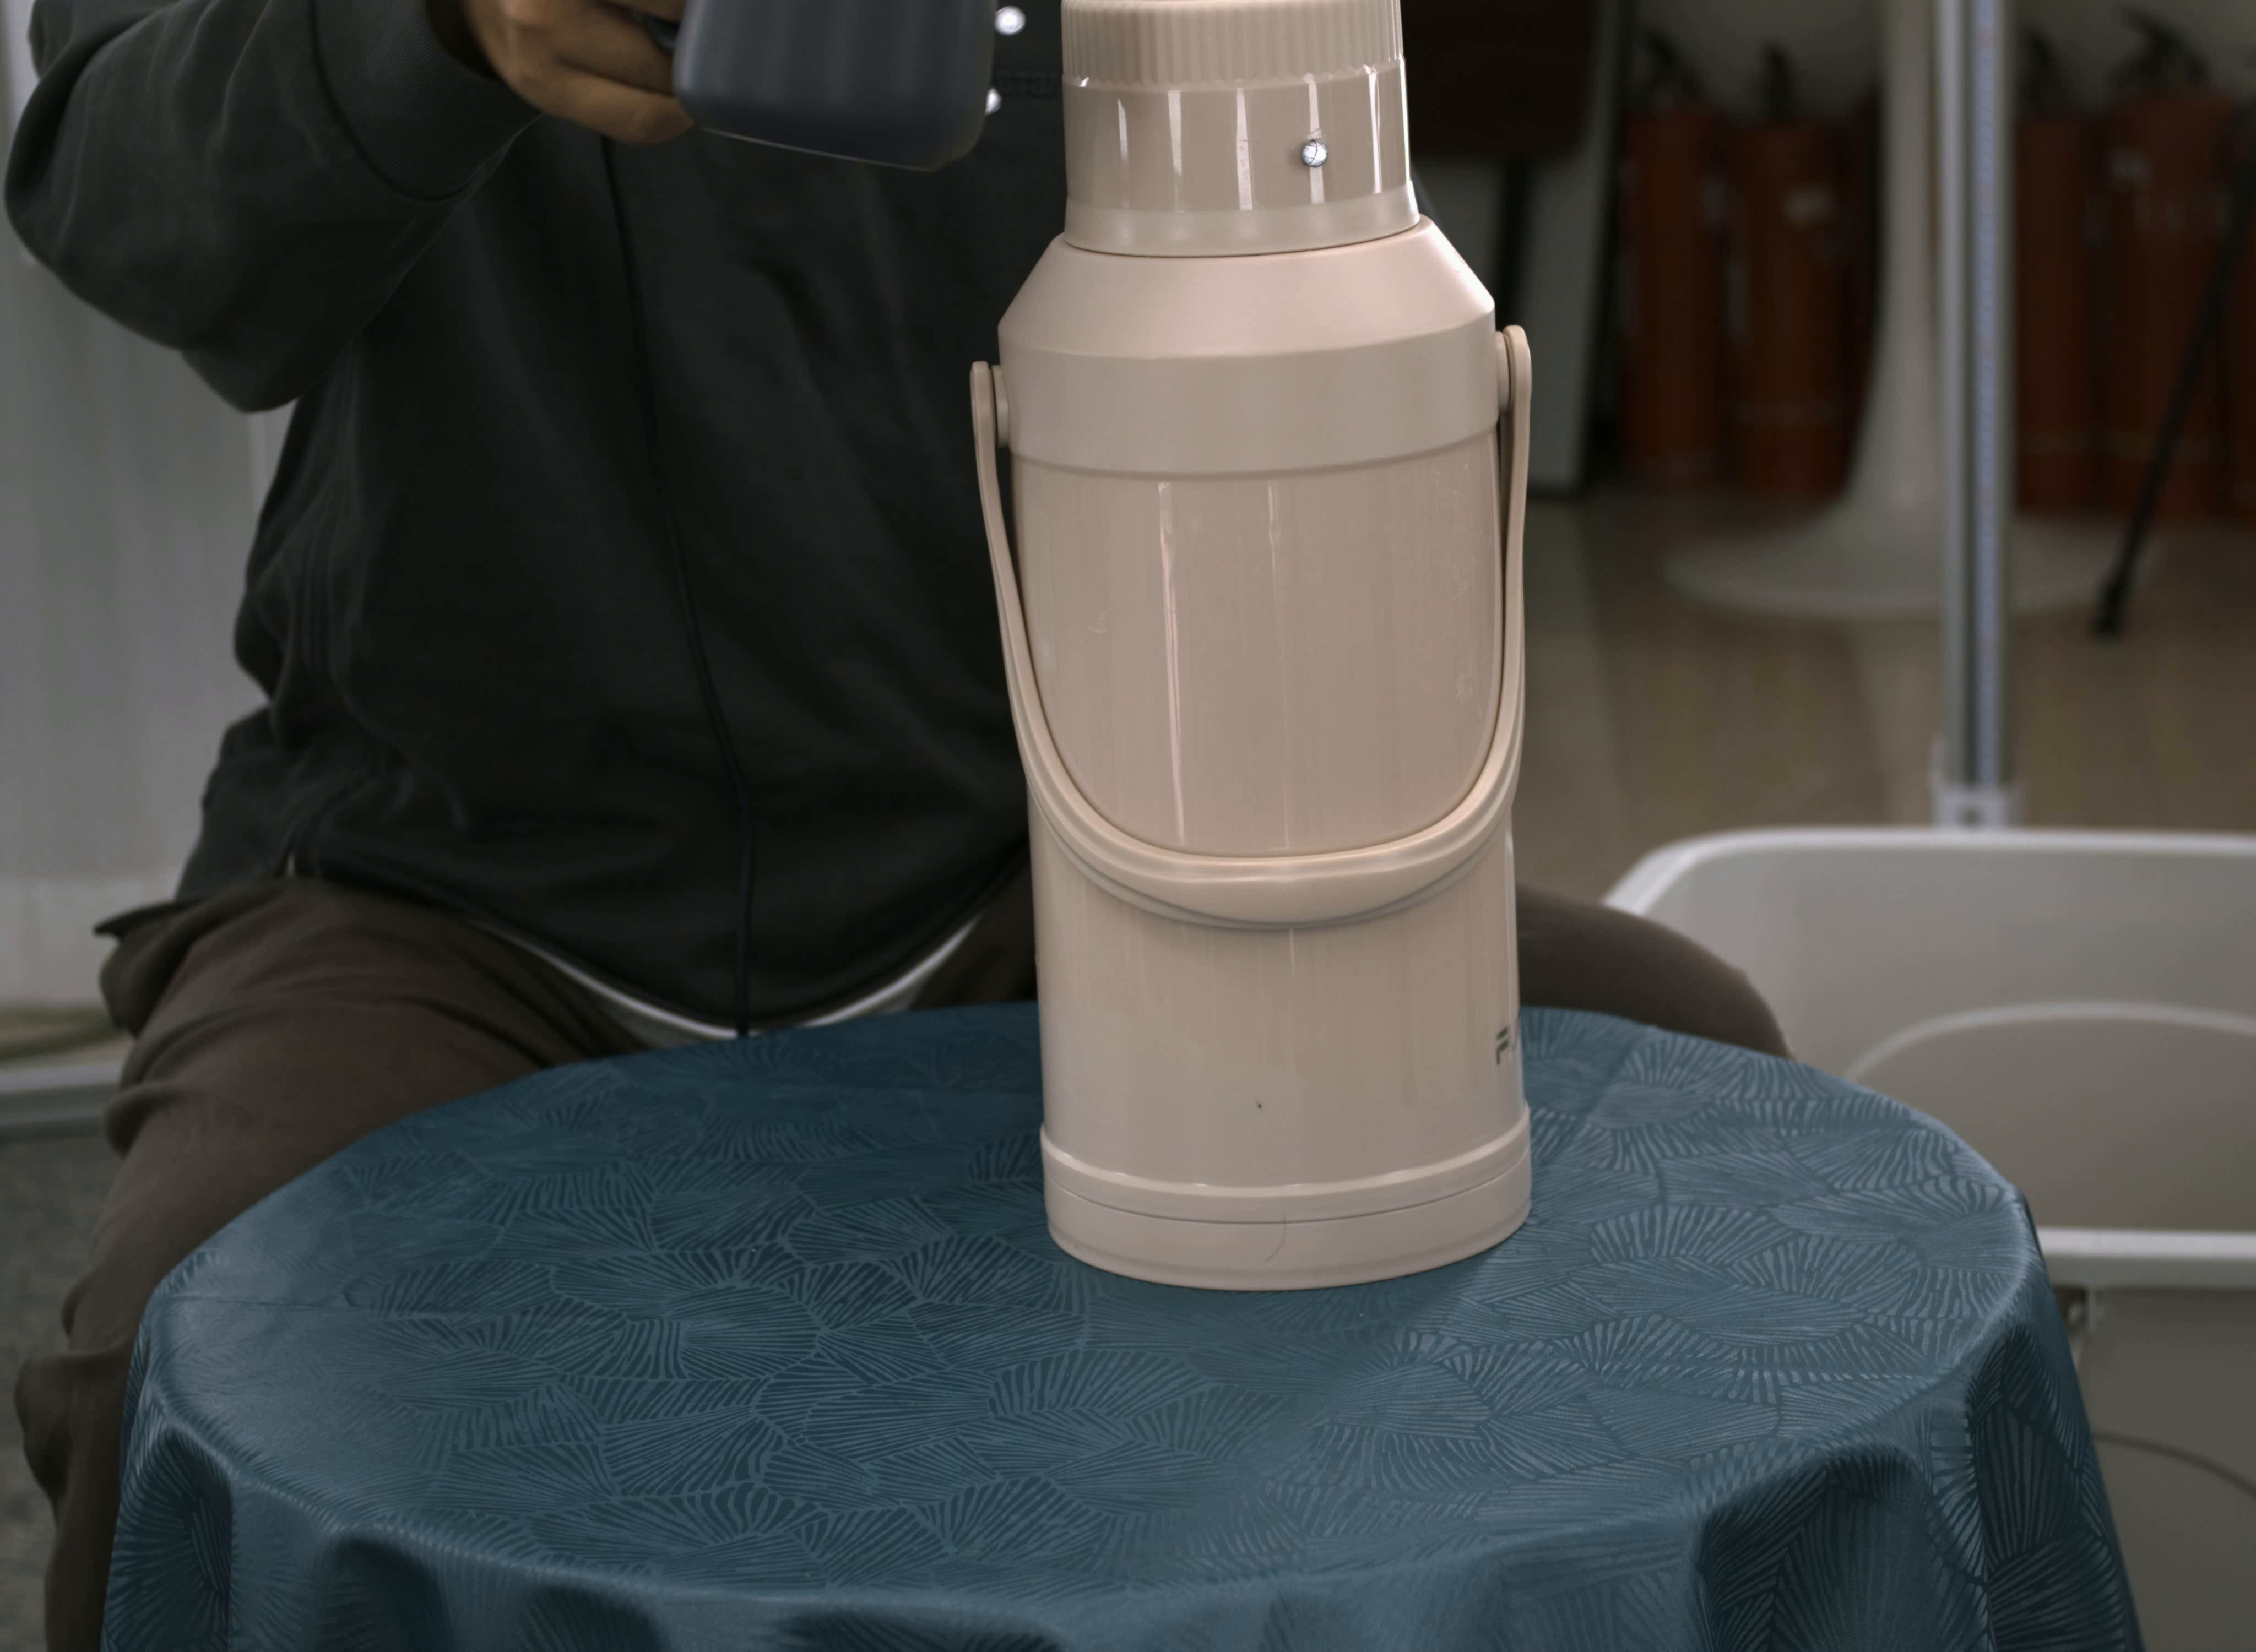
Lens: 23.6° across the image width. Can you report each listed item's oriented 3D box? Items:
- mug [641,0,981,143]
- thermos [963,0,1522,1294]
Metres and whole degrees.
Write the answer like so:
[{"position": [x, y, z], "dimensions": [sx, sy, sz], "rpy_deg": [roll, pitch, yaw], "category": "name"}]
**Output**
[{"position": [-0.097, -0.253, 1.586], "dimensions": [0.124, 0.091, 0.091], "rpy_deg": [18, 11, 40], "category": "mug"}, {"position": [0.039, -0.072, 1.710], "dimensions": [0.173, 0.411, 0.208], "rpy_deg": [-5, 14, -4], "category": "thermos"}]
